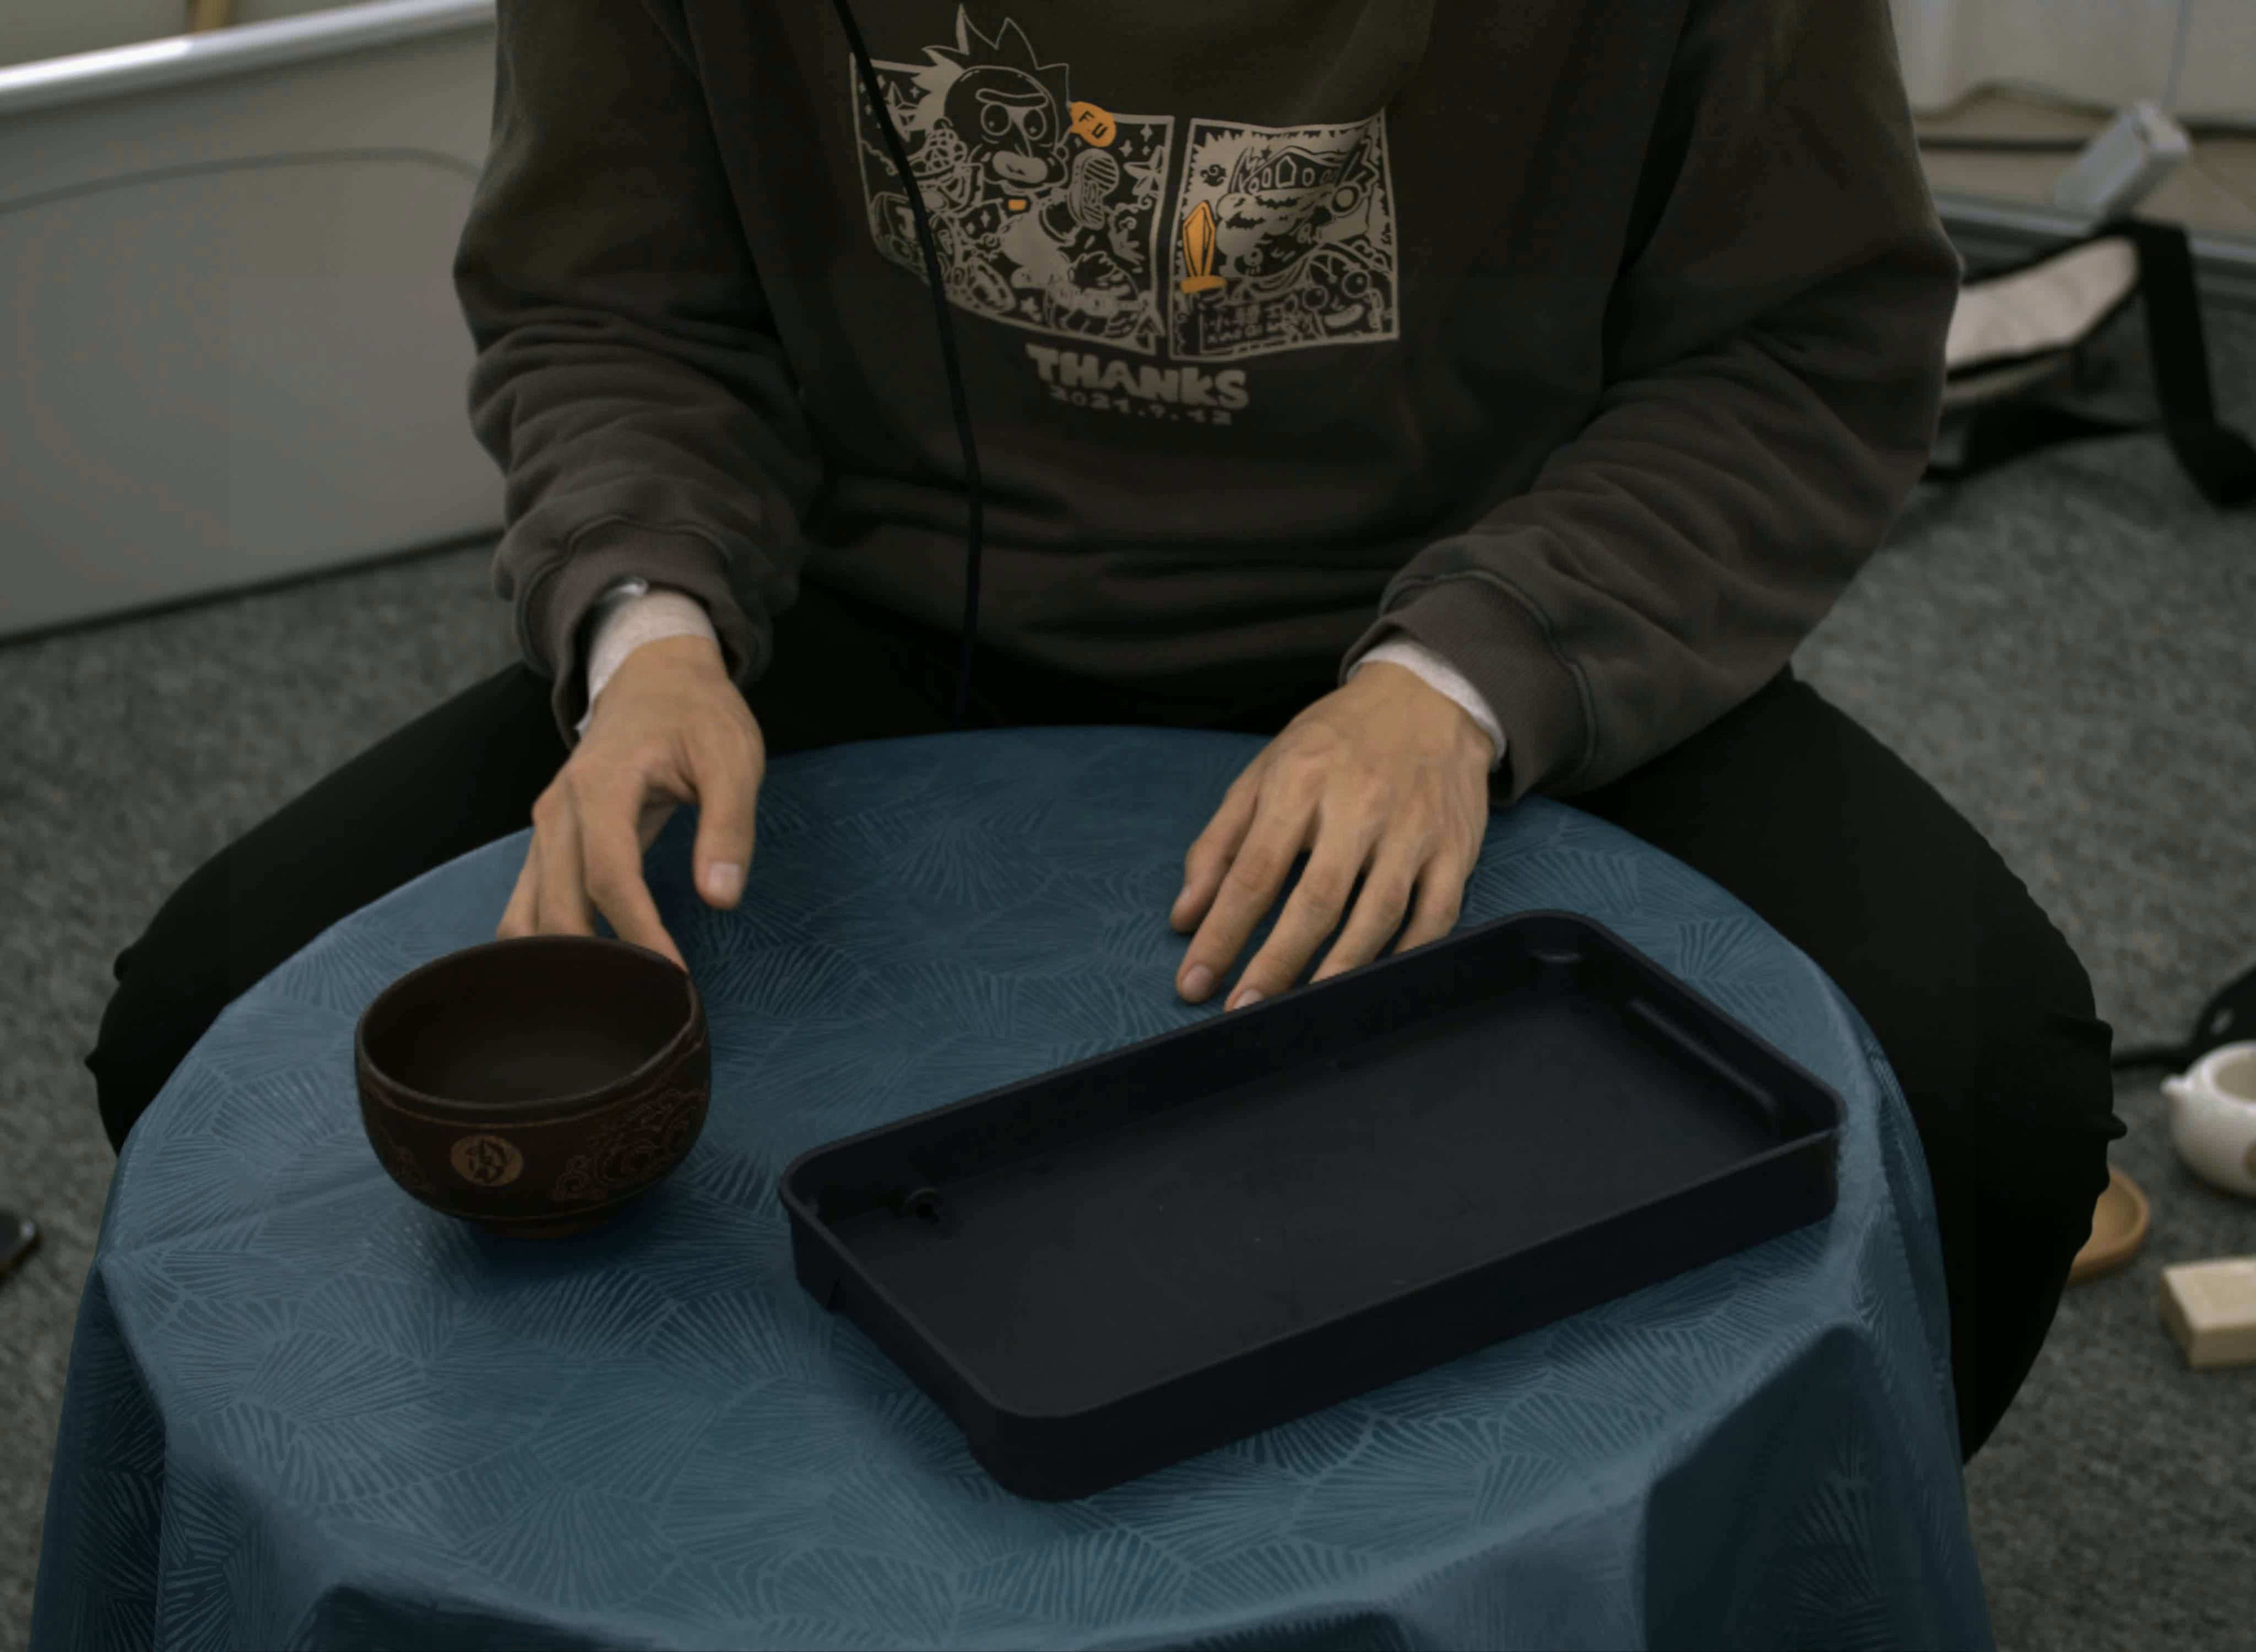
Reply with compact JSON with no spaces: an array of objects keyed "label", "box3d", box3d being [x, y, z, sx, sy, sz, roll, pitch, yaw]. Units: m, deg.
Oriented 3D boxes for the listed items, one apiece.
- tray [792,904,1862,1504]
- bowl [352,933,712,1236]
[{"label":"tray","box3d":[0.065,0.117,1.826,0.320,0.036,0.185,-19,31,-27]},{"label":"bowl","box3d":[-0.195,0.093,1.859,0.117,0.069,0.120,-3,26,2]}]
